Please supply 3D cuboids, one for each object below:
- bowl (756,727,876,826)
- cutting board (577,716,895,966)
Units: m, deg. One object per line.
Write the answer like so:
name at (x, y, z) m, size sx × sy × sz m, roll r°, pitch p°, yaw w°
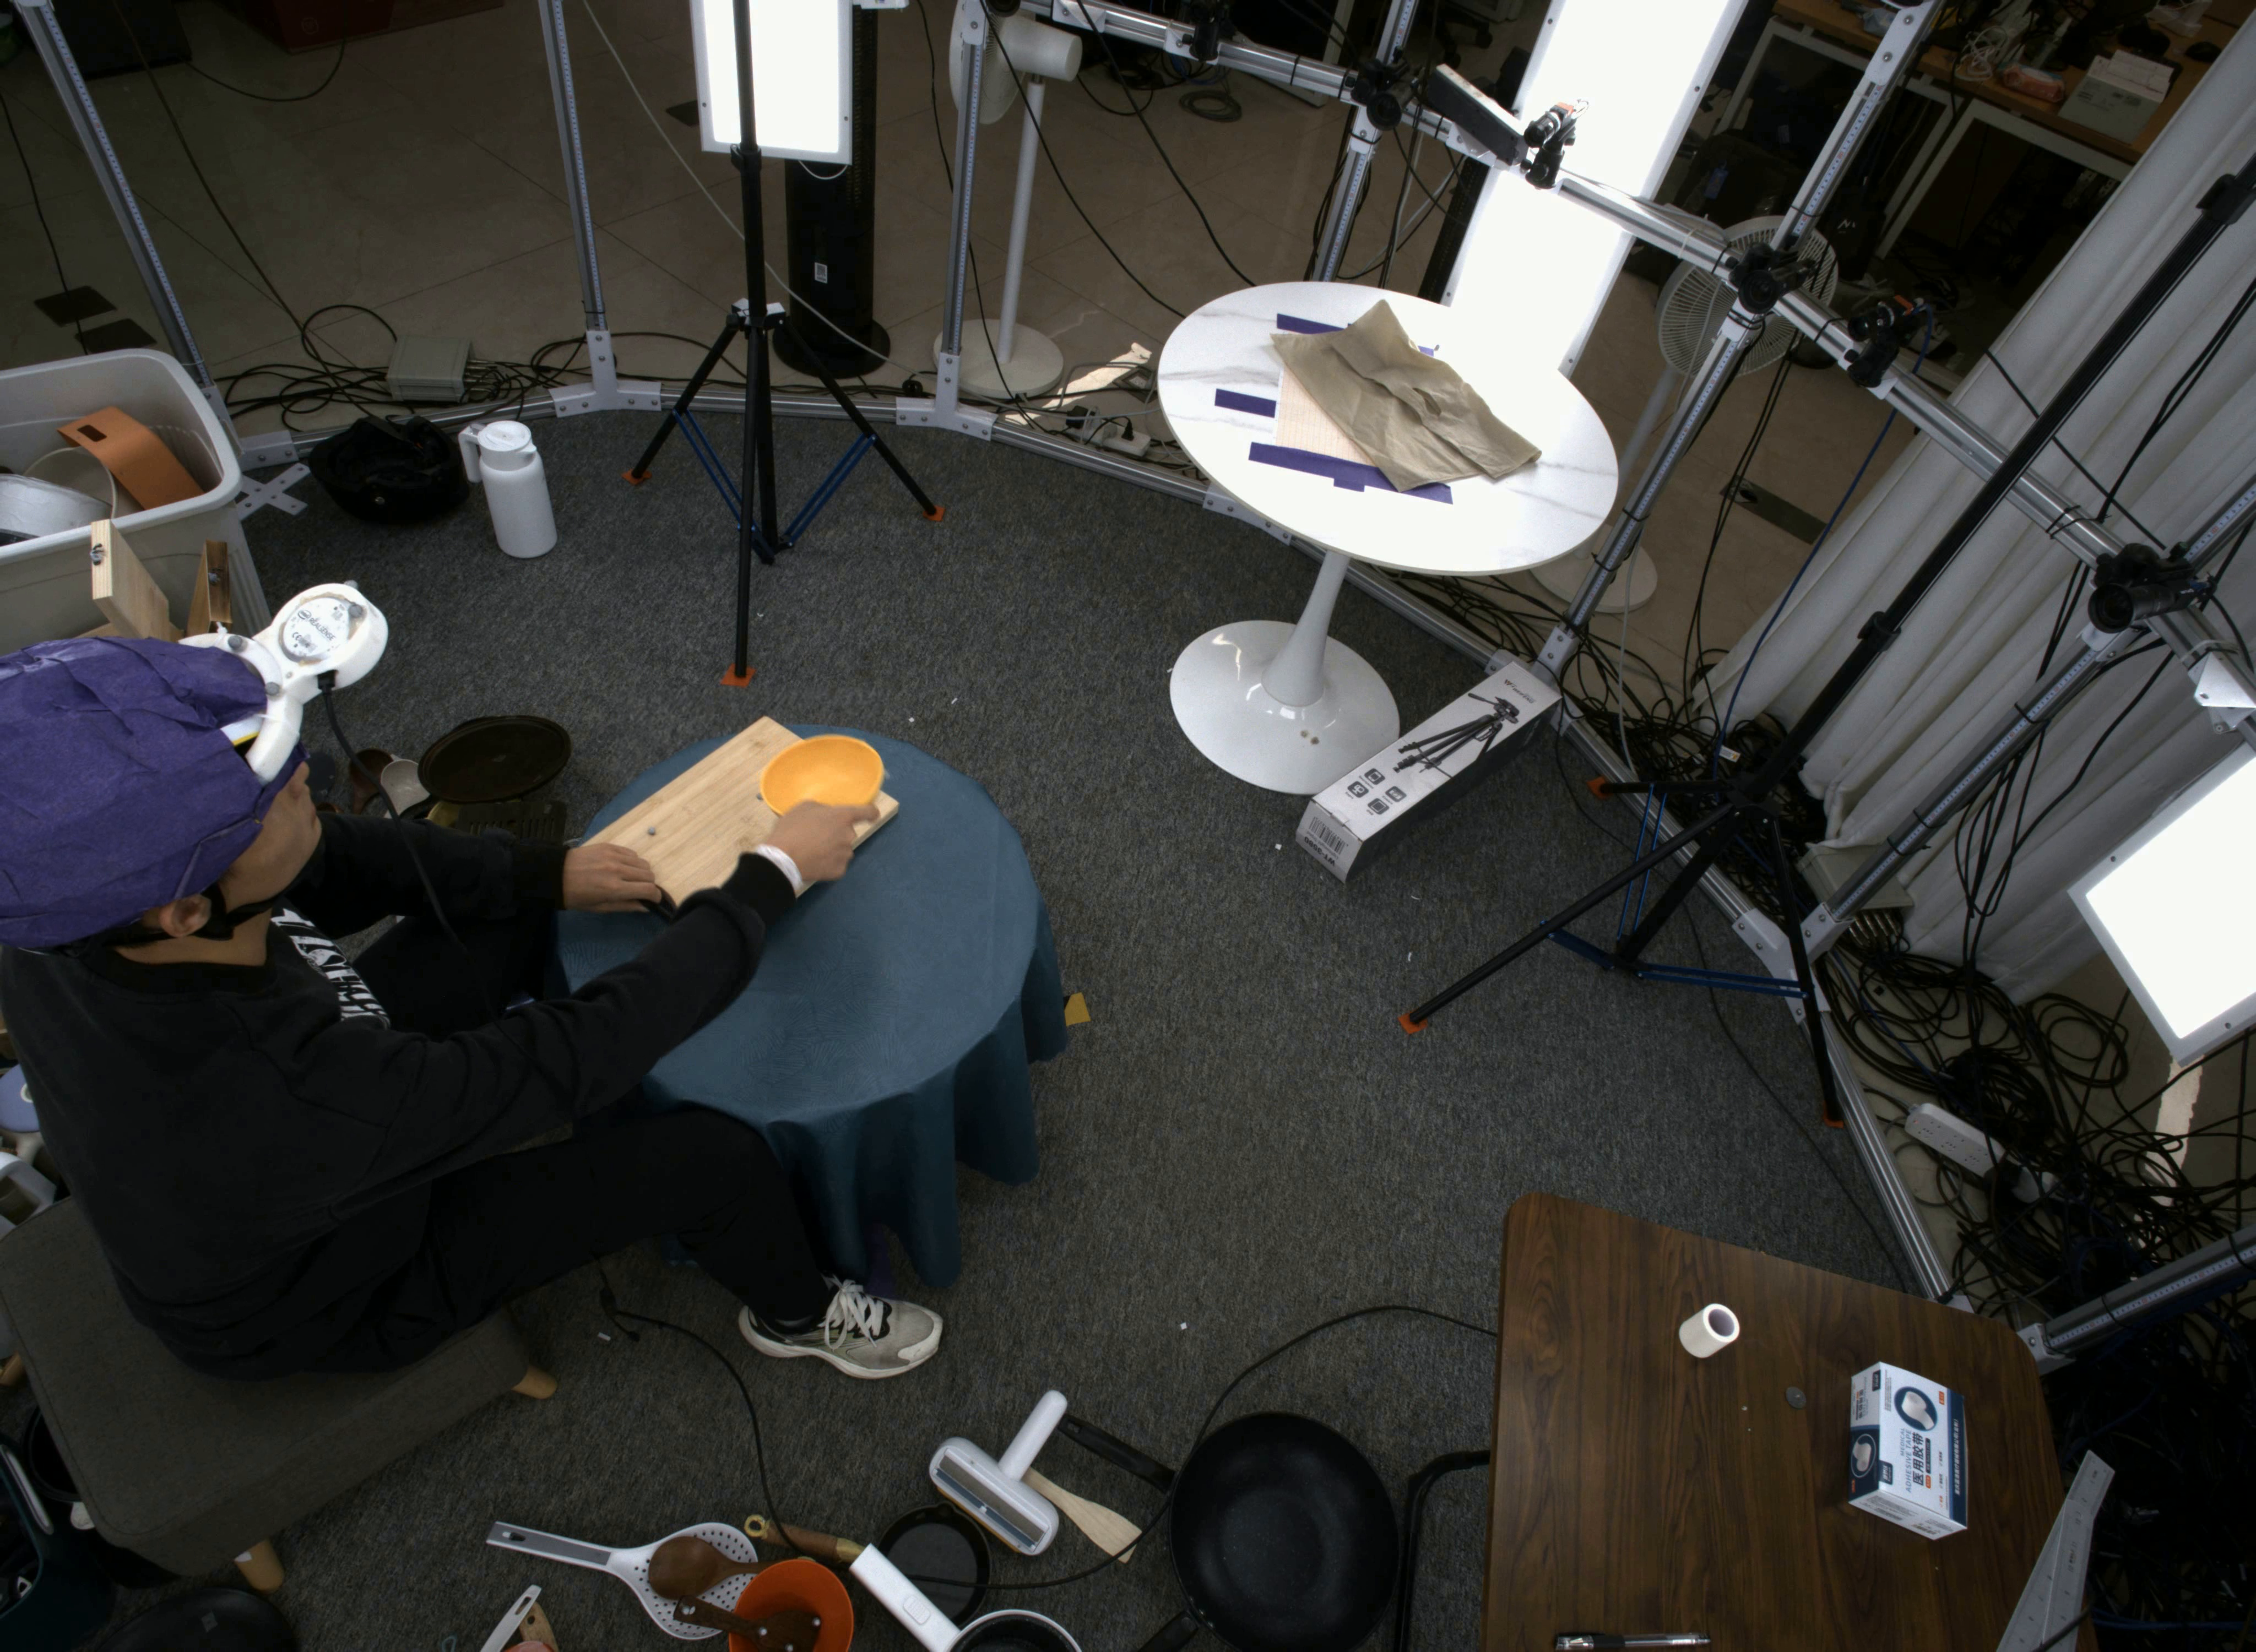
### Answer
bowl at (-0.361, -0.047, 1.536) m, size 0.143 × 0.062 × 0.142 m, roll -3°, pitch 48°, yaw 5°
cutting board at (-0.500, 0.006, 1.671) m, size 0.246 × 0.024 × 0.348 m, roll 32°, pitch 47°, yaw 10°
